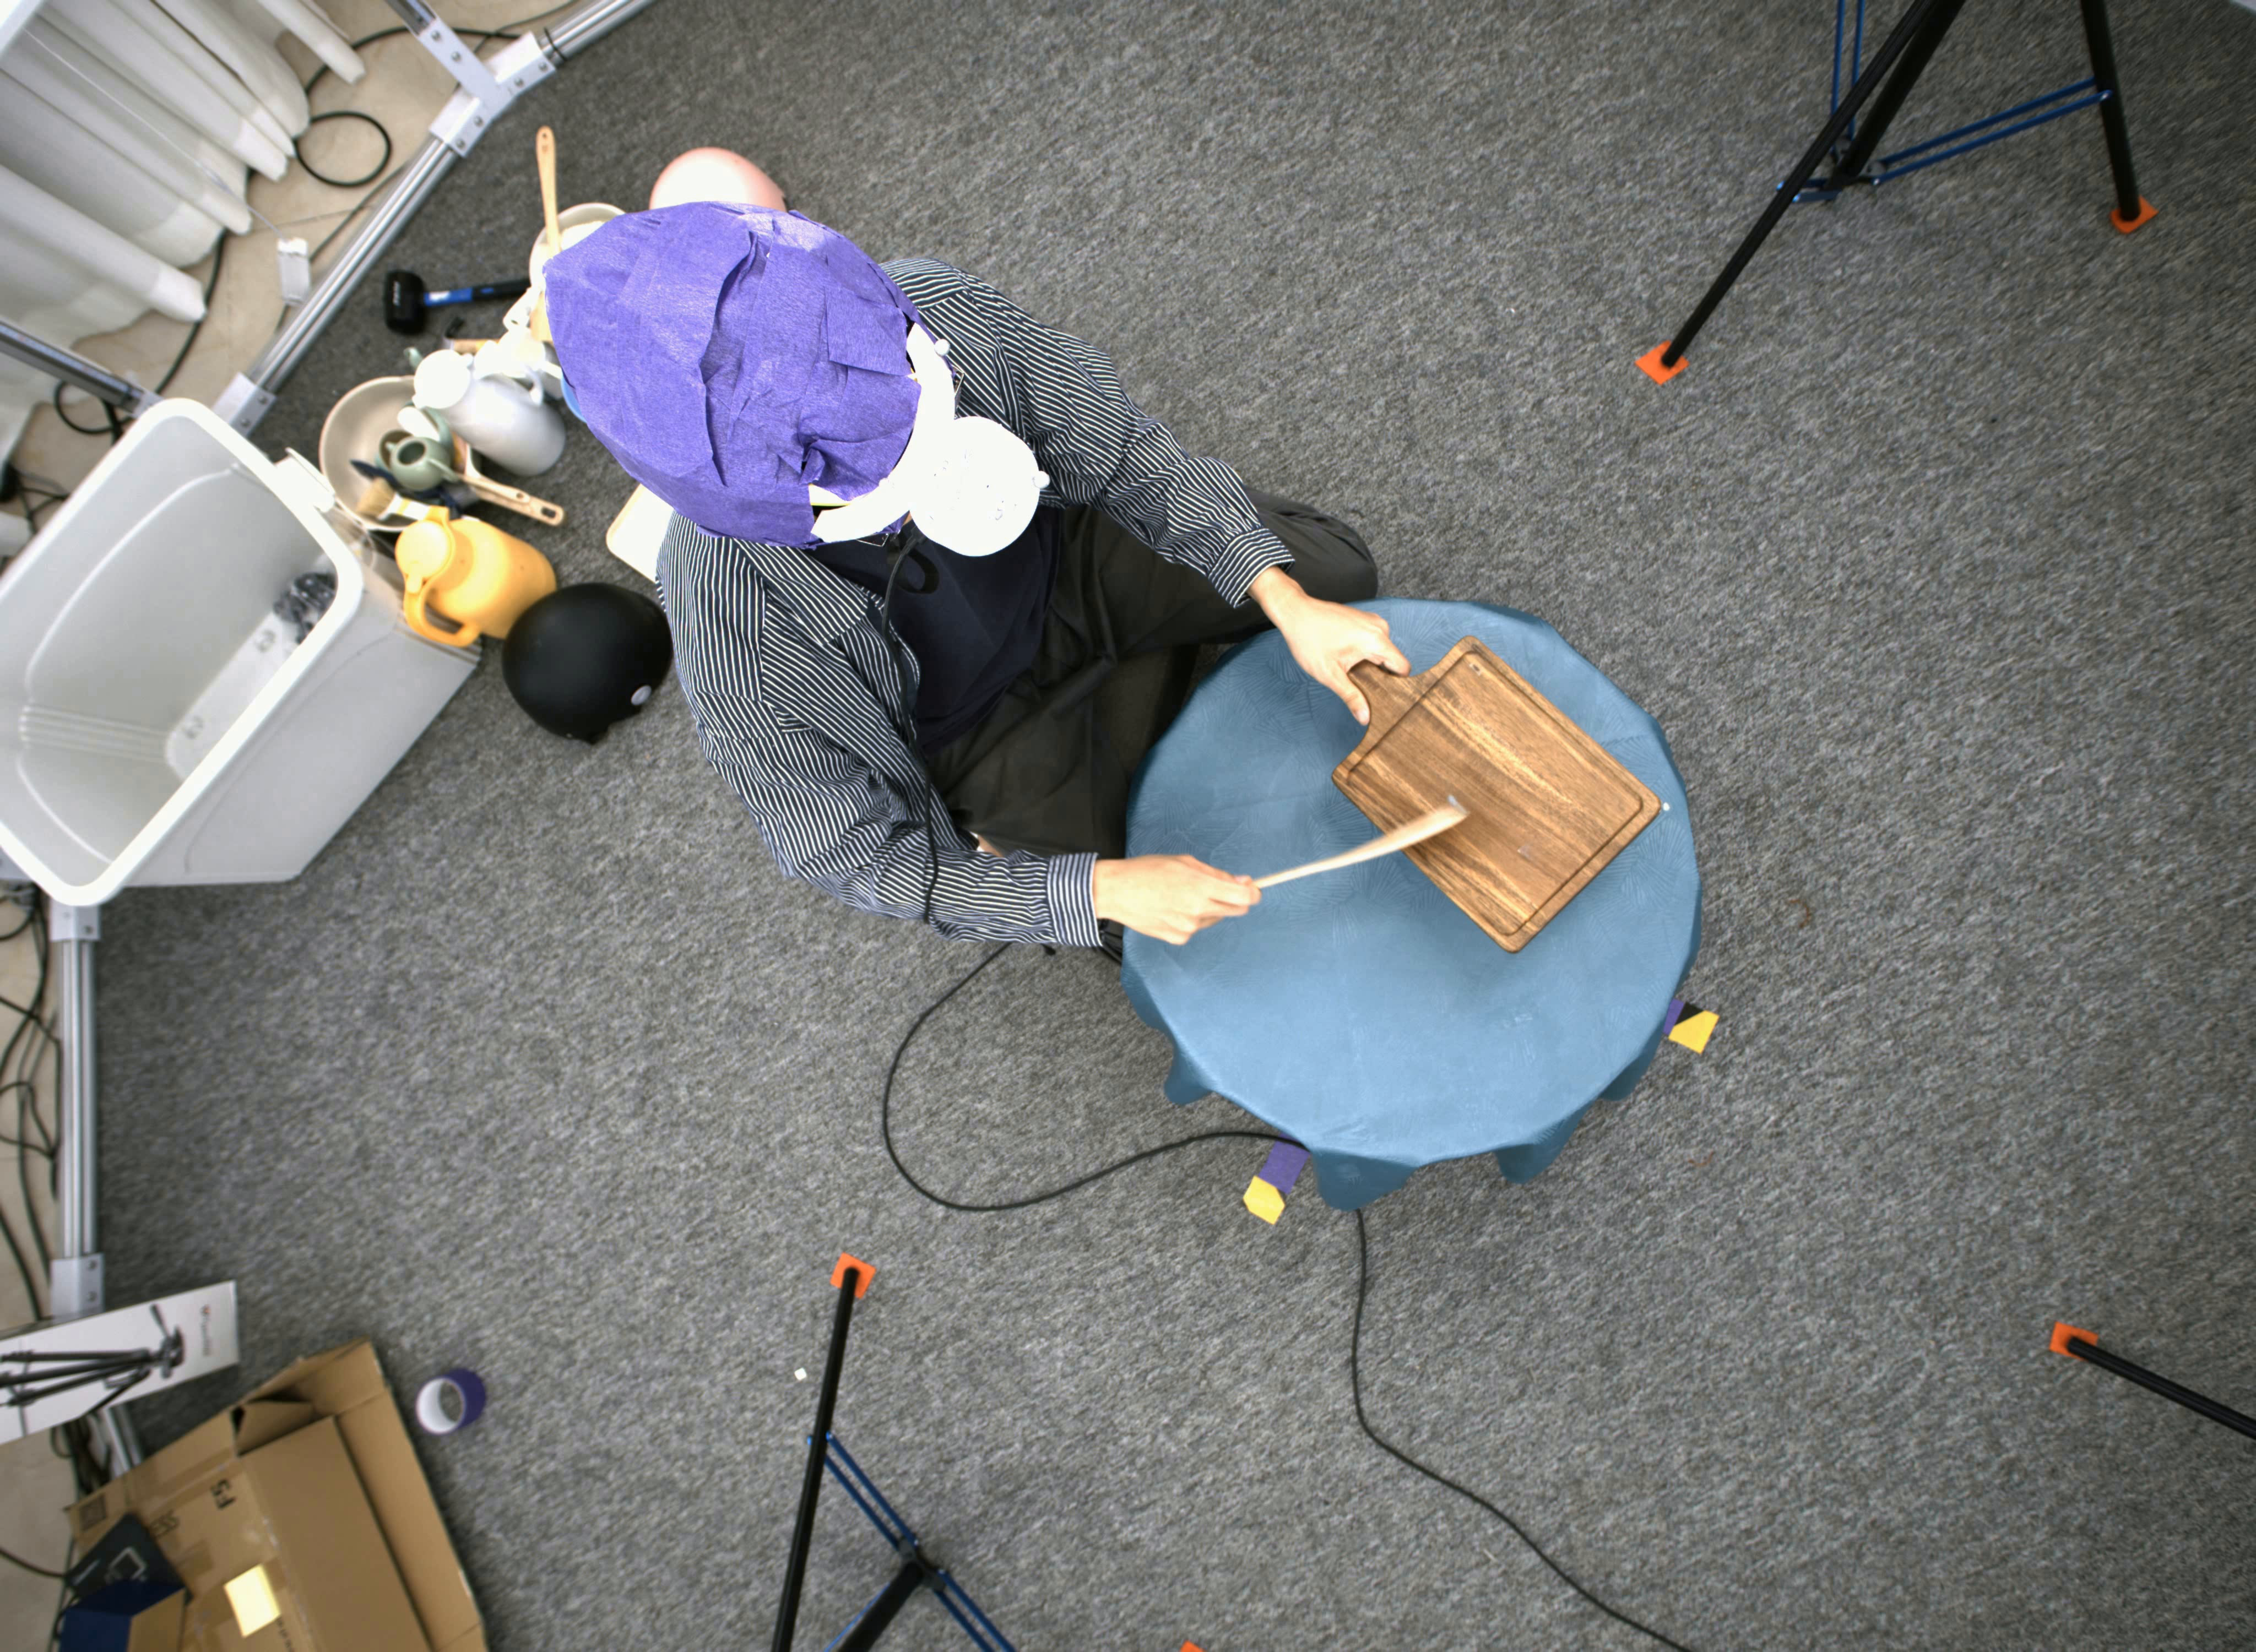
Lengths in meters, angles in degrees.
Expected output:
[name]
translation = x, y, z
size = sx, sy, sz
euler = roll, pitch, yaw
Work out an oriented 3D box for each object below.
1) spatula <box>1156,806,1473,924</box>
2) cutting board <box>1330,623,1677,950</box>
[spatula]
translation = 0.174, 0.039, 1.317
size = 0.331, 0.079, 0.016
euler = -19, 96, 21
[cutting board]
translation = 0.321, -0.075, 1.304
size = 0.203, 0.023, 0.349
euler = -47, 70, 12
